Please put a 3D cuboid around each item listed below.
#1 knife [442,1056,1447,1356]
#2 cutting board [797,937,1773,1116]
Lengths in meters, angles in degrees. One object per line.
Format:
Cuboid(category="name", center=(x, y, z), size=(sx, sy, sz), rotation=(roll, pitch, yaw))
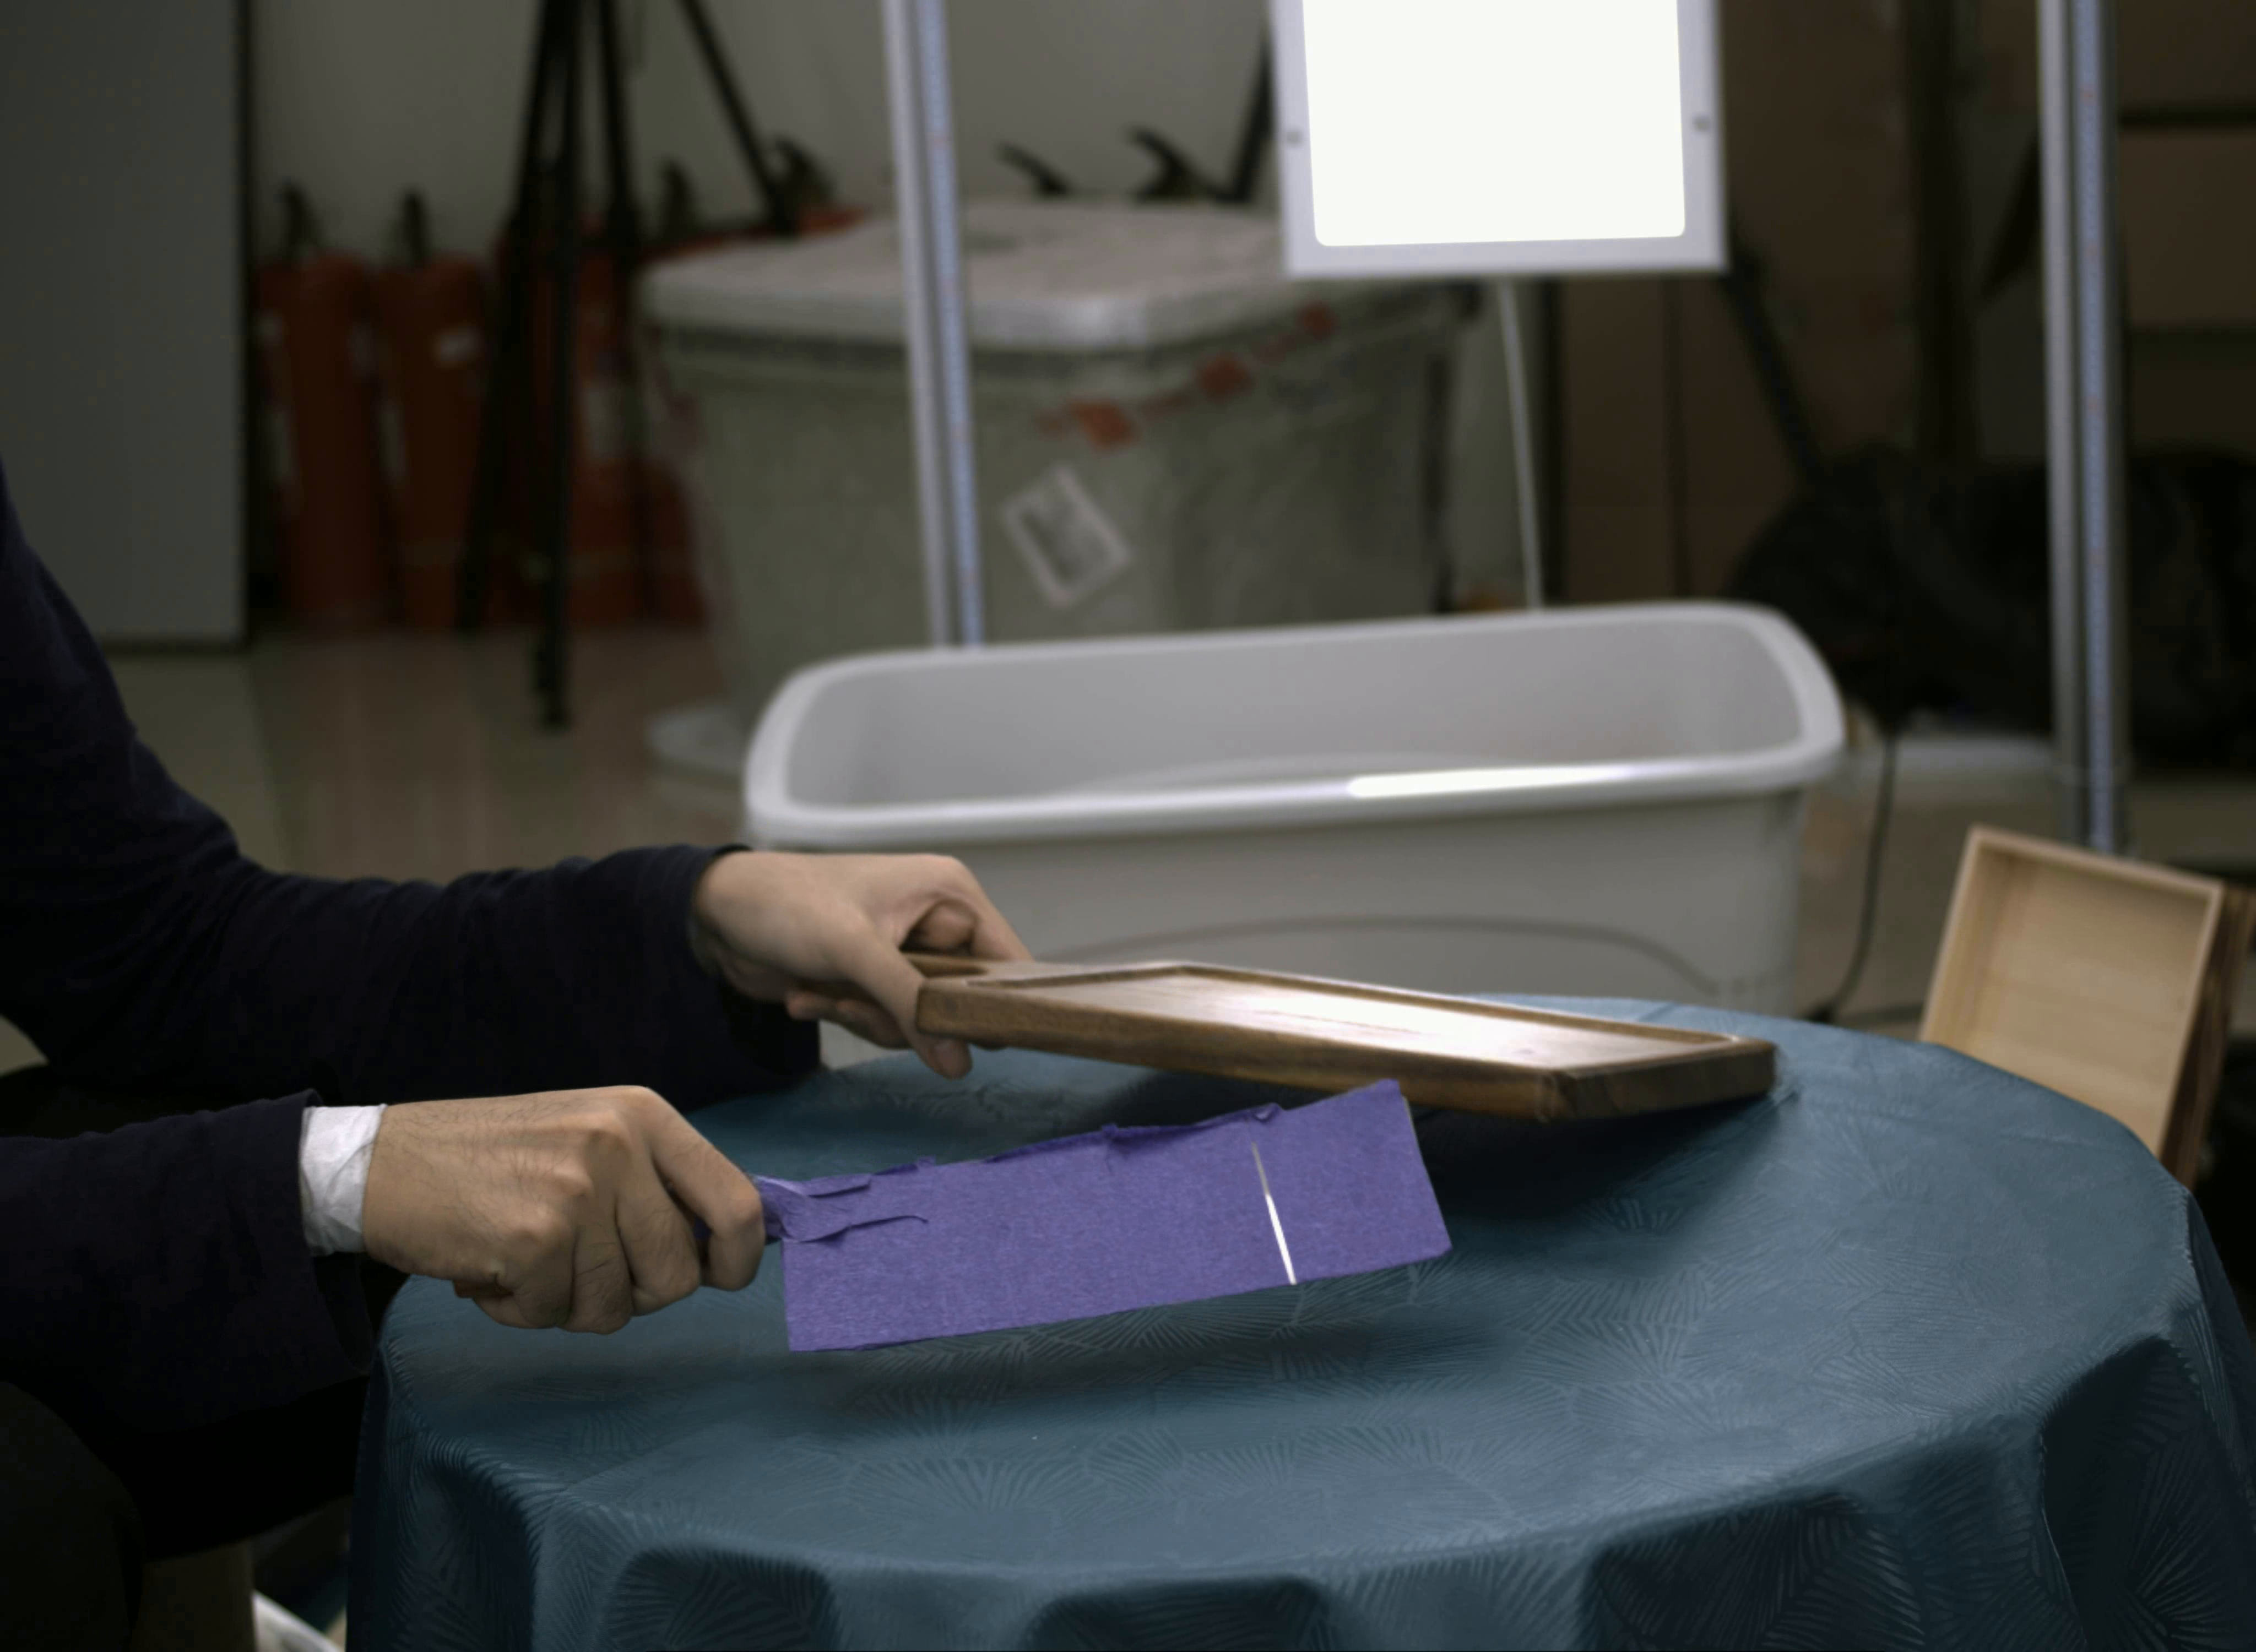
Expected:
Cuboid(category="knife", center=(-0.059, 0.127, 1.727), size=(0.314, 0.032, 0.104), rotation=(-11, 31, 1))
Cuboid(category="cutting board", center=(0.035, 0.068, 1.958), size=(0.359, 0.023, 0.196), rotation=(6, 3, 31))
